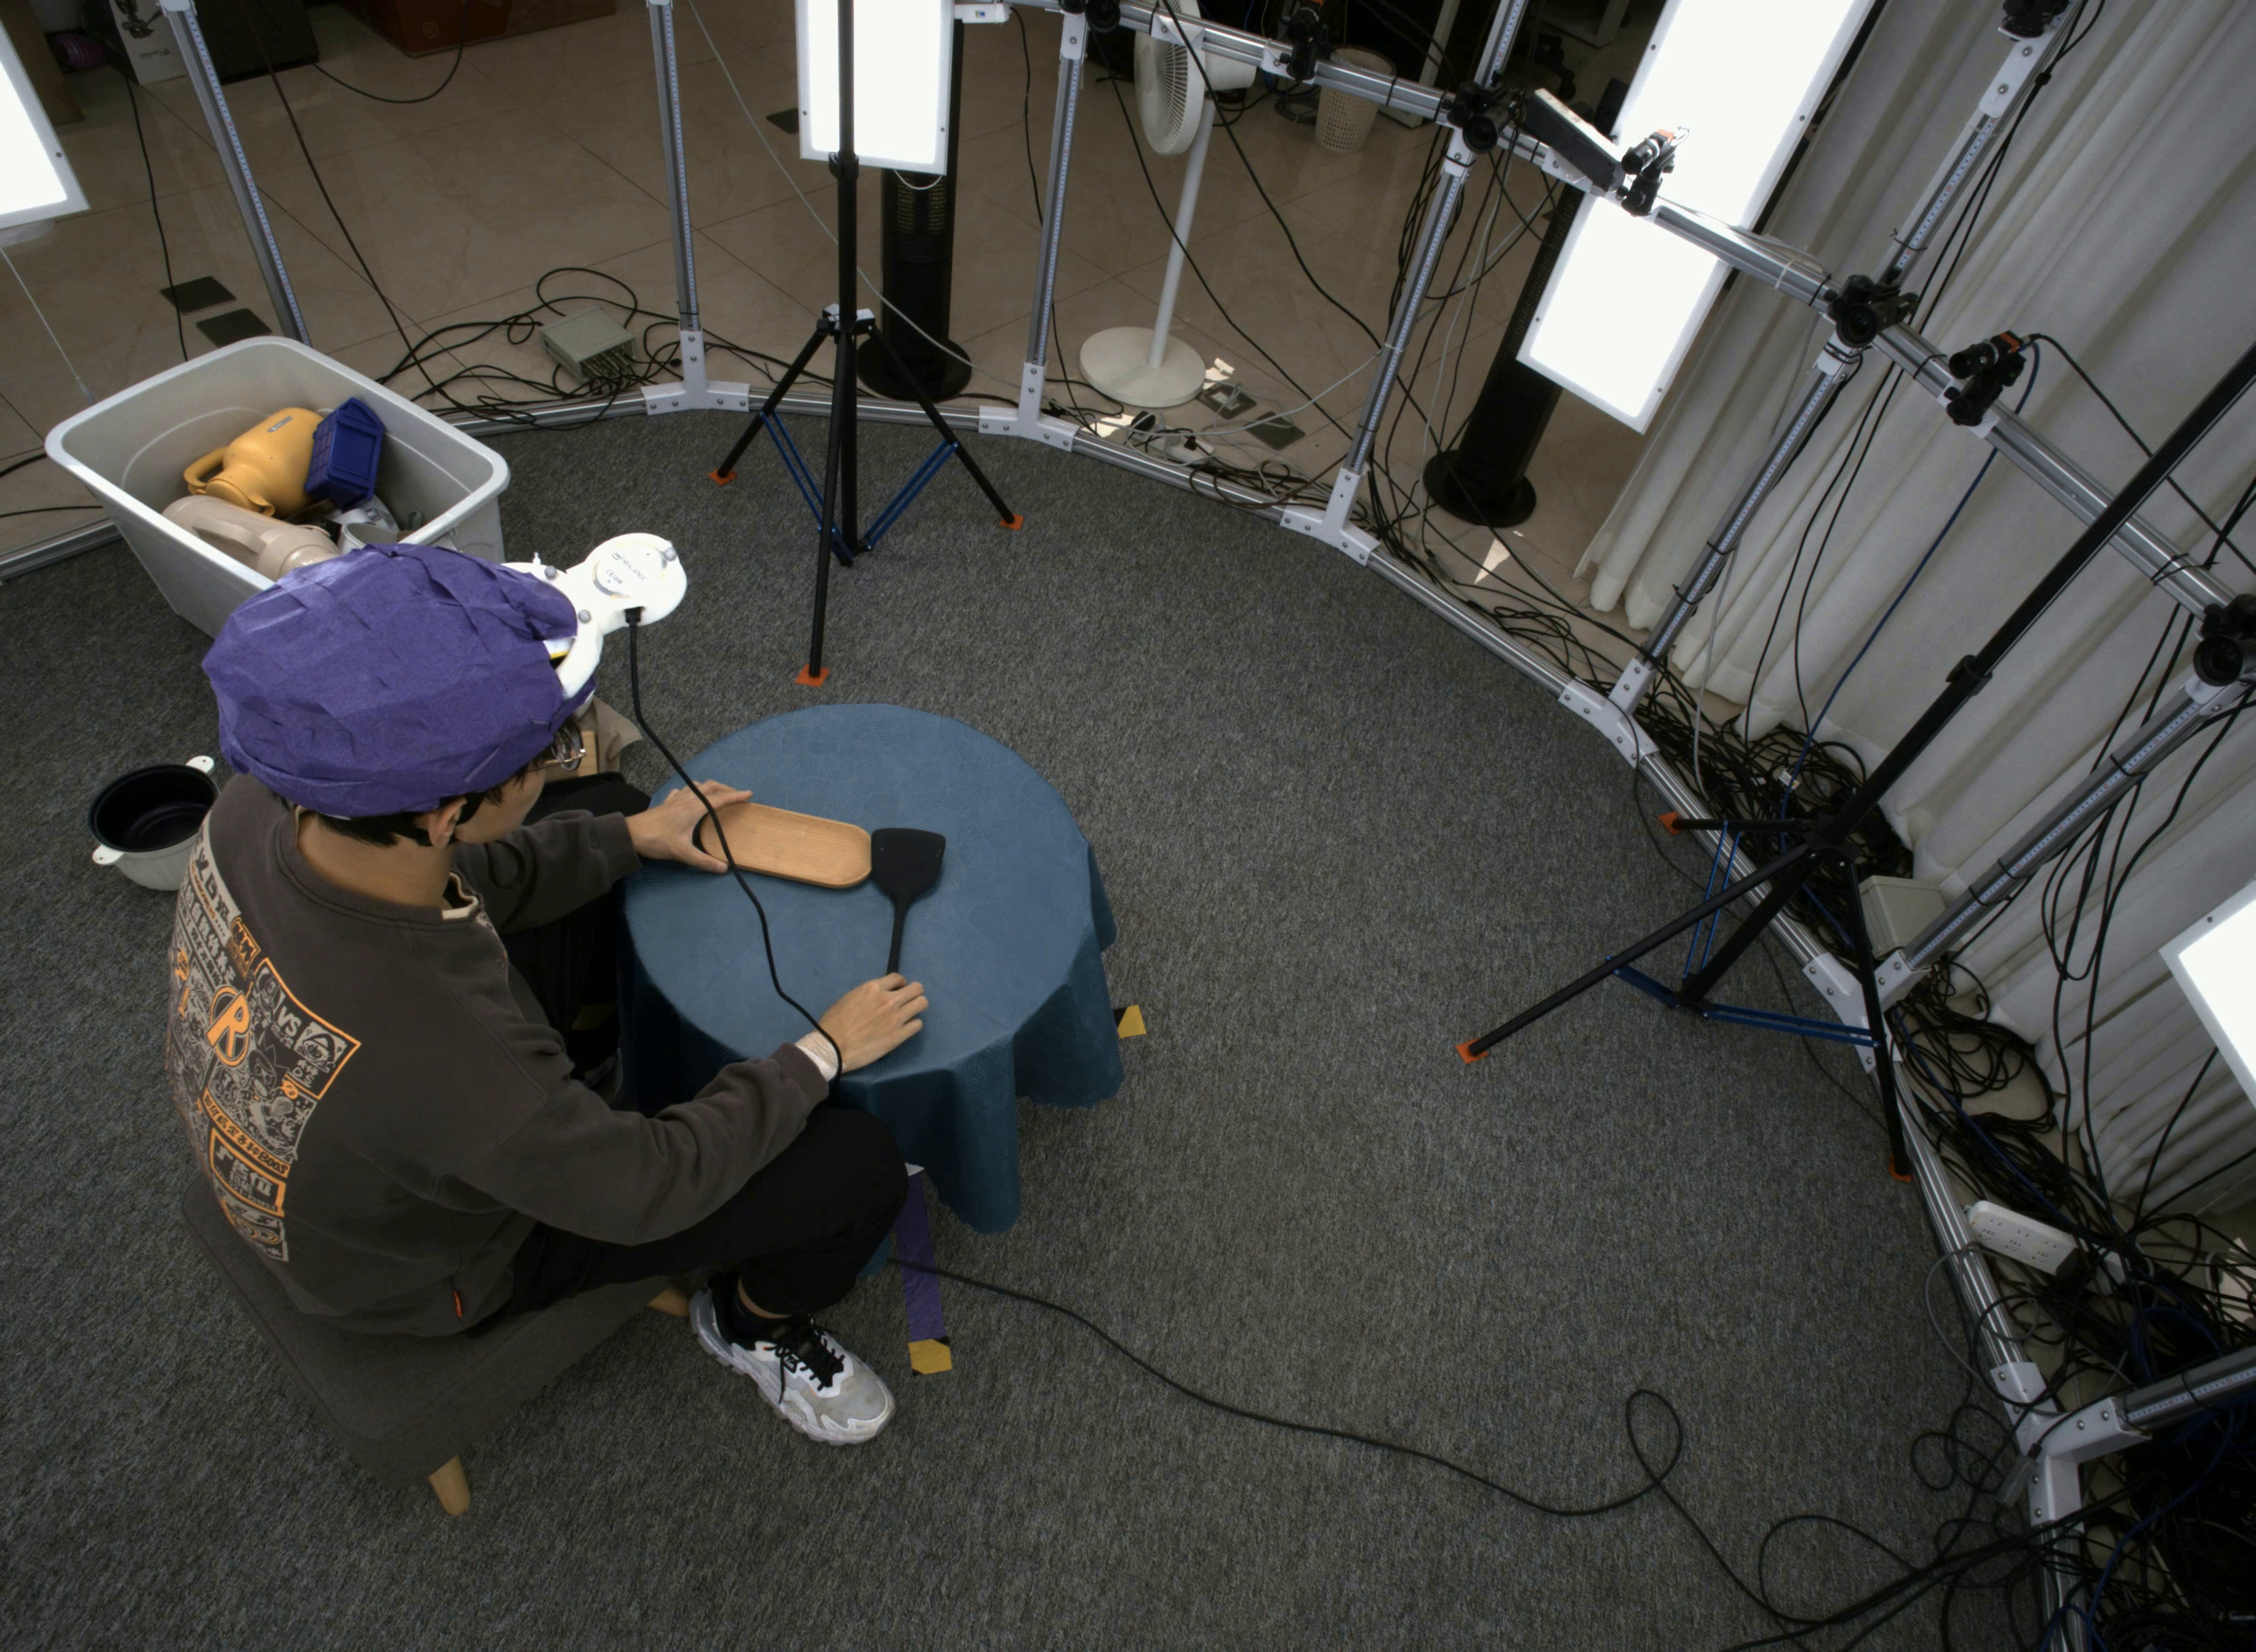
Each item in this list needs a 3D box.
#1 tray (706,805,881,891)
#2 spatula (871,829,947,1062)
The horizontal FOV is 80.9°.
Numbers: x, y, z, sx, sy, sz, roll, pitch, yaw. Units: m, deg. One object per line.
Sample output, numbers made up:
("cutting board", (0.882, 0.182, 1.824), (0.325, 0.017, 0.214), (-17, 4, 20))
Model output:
("tray", (-0.440, 0.028, 1.704), (0.230, 0.021, 0.100), (13, 53, -6))
("spatula", (-0.291, 0.143, 1.641), (0.099, 0.041, 0.320), (5, 52, -6))
